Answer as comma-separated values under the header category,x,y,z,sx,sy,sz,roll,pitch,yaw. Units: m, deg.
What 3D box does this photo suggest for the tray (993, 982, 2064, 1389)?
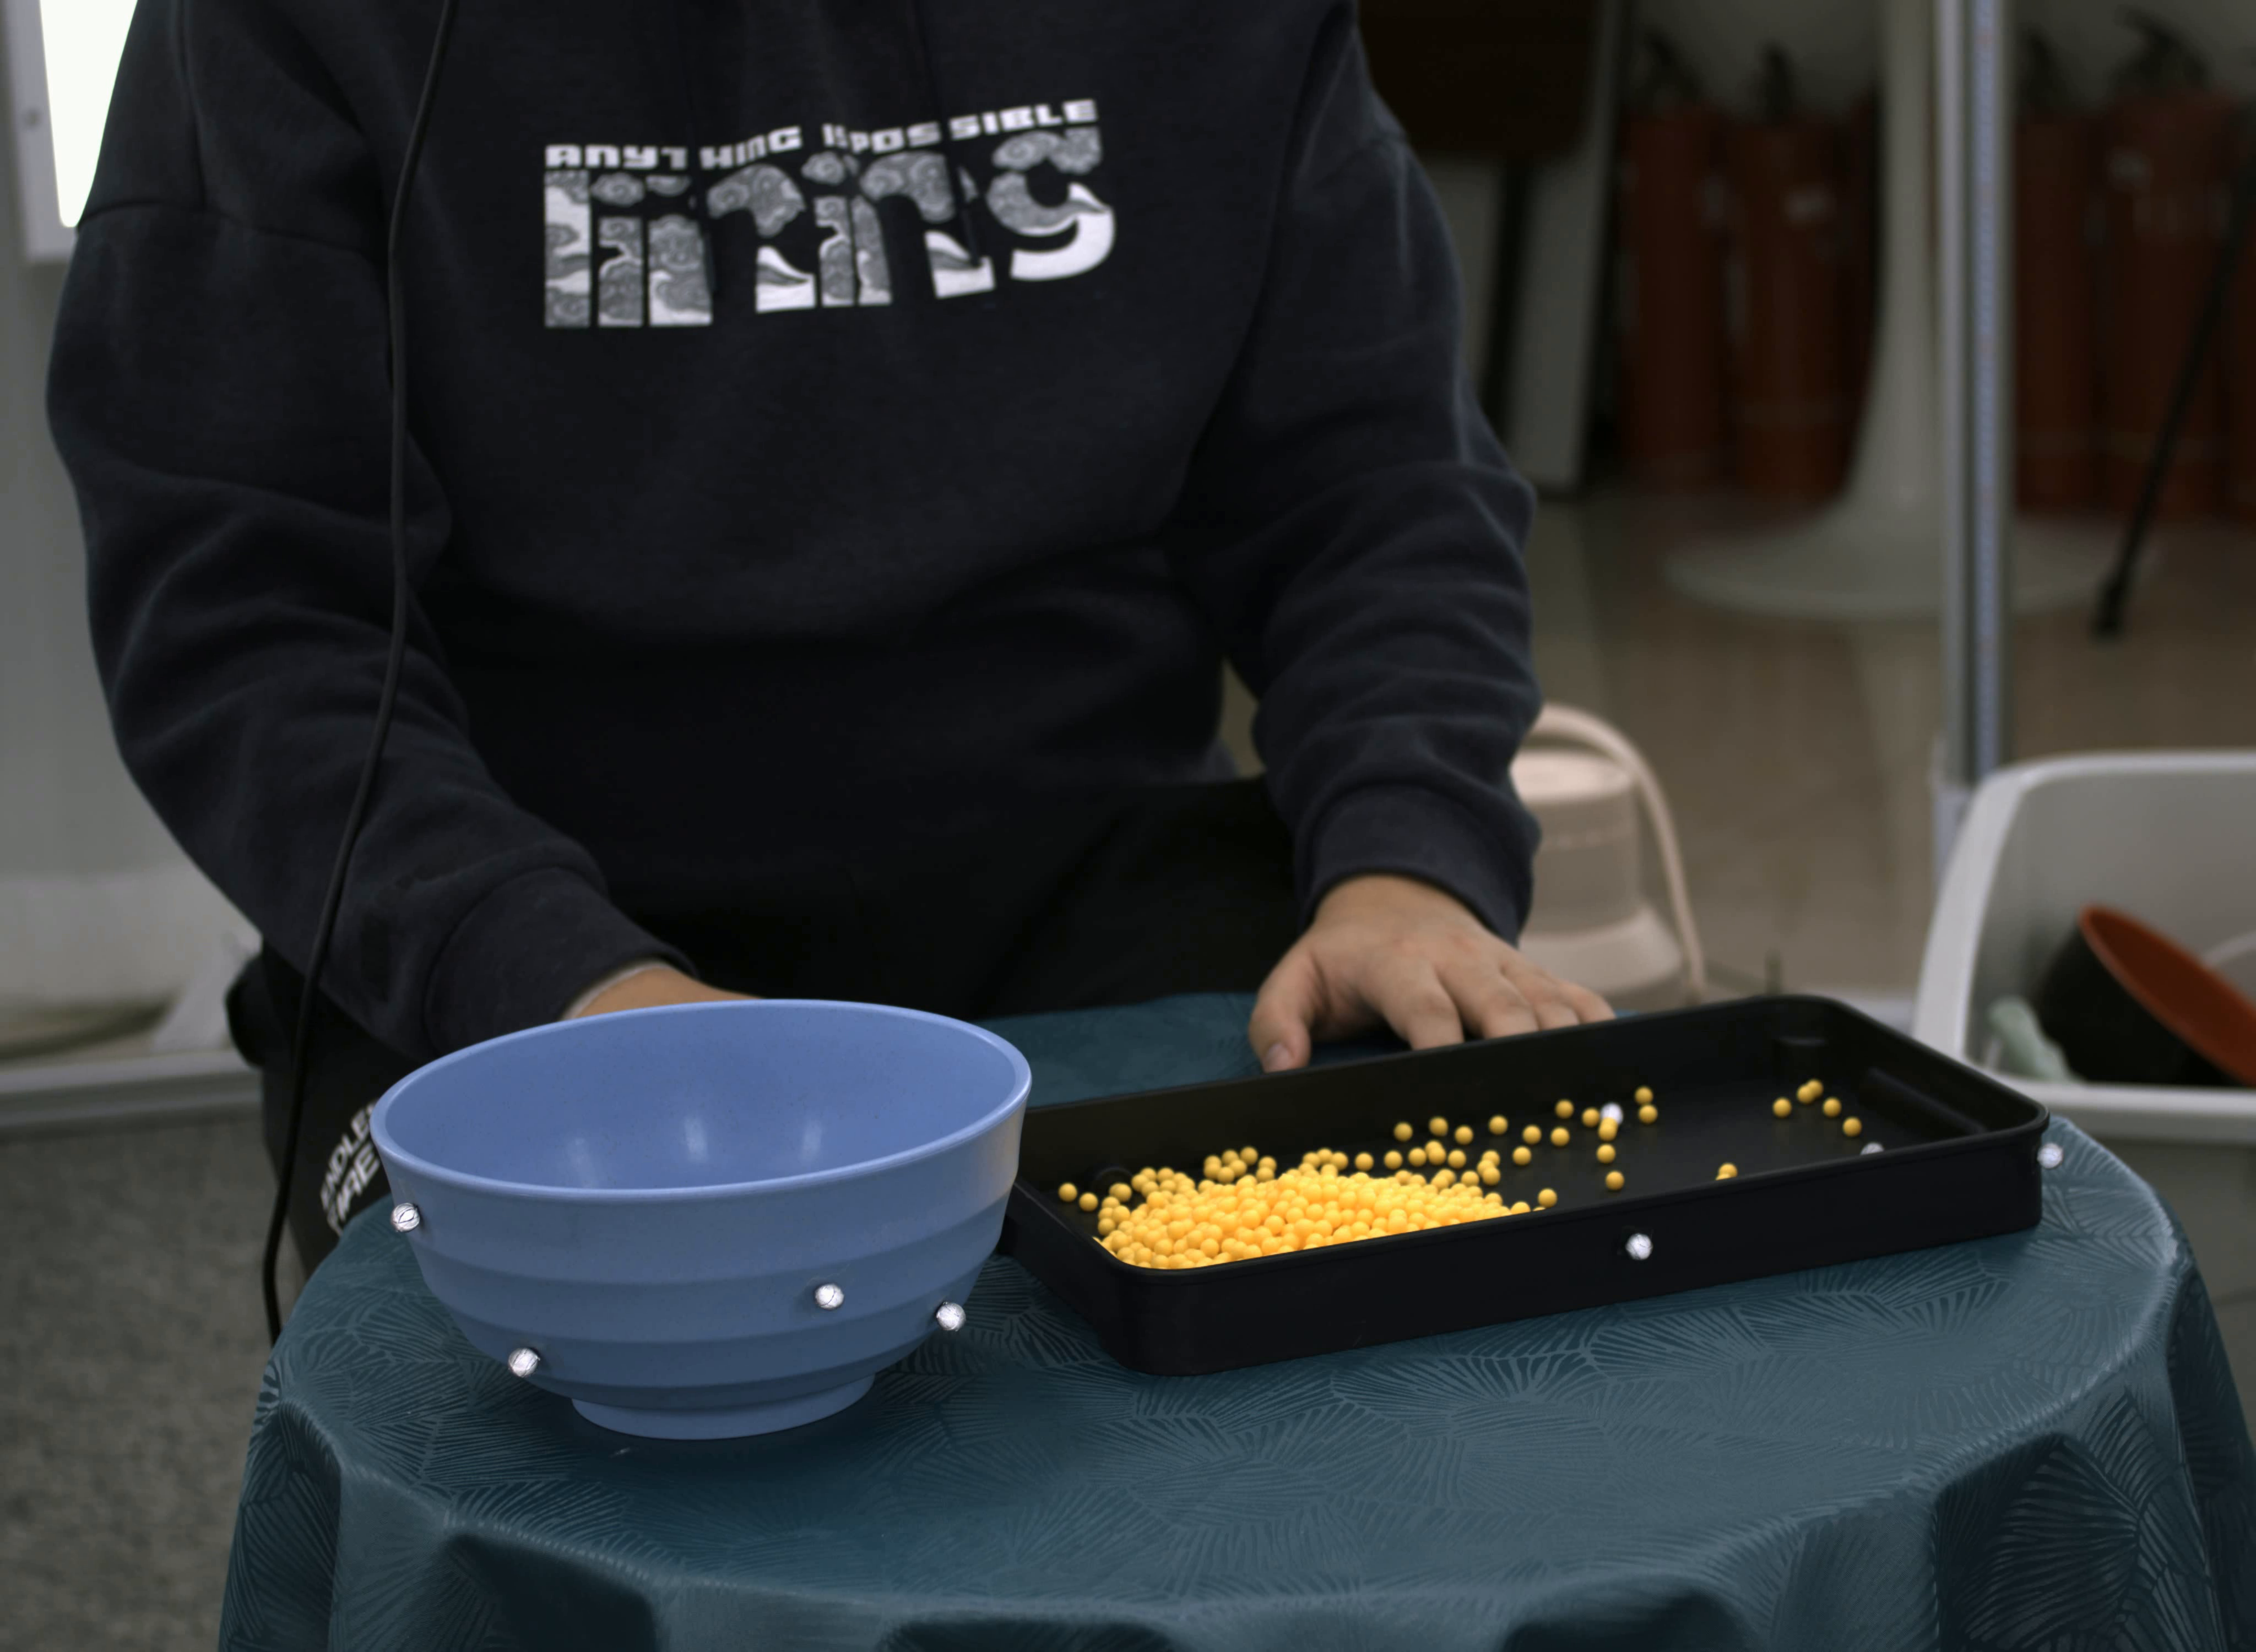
category,x,y,z,sx,sy,sz,roll,pitch,yaw
tray,0.124,0.110,1.714,0.311,0.037,0.186,-10,14,-19

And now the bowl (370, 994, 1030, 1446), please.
category,x,y,z,sx,sy,sz,roll,pitch,yaw
bowl,-0.122,0.122,1.601,0.194,0.096,0.197,-5,15,0
